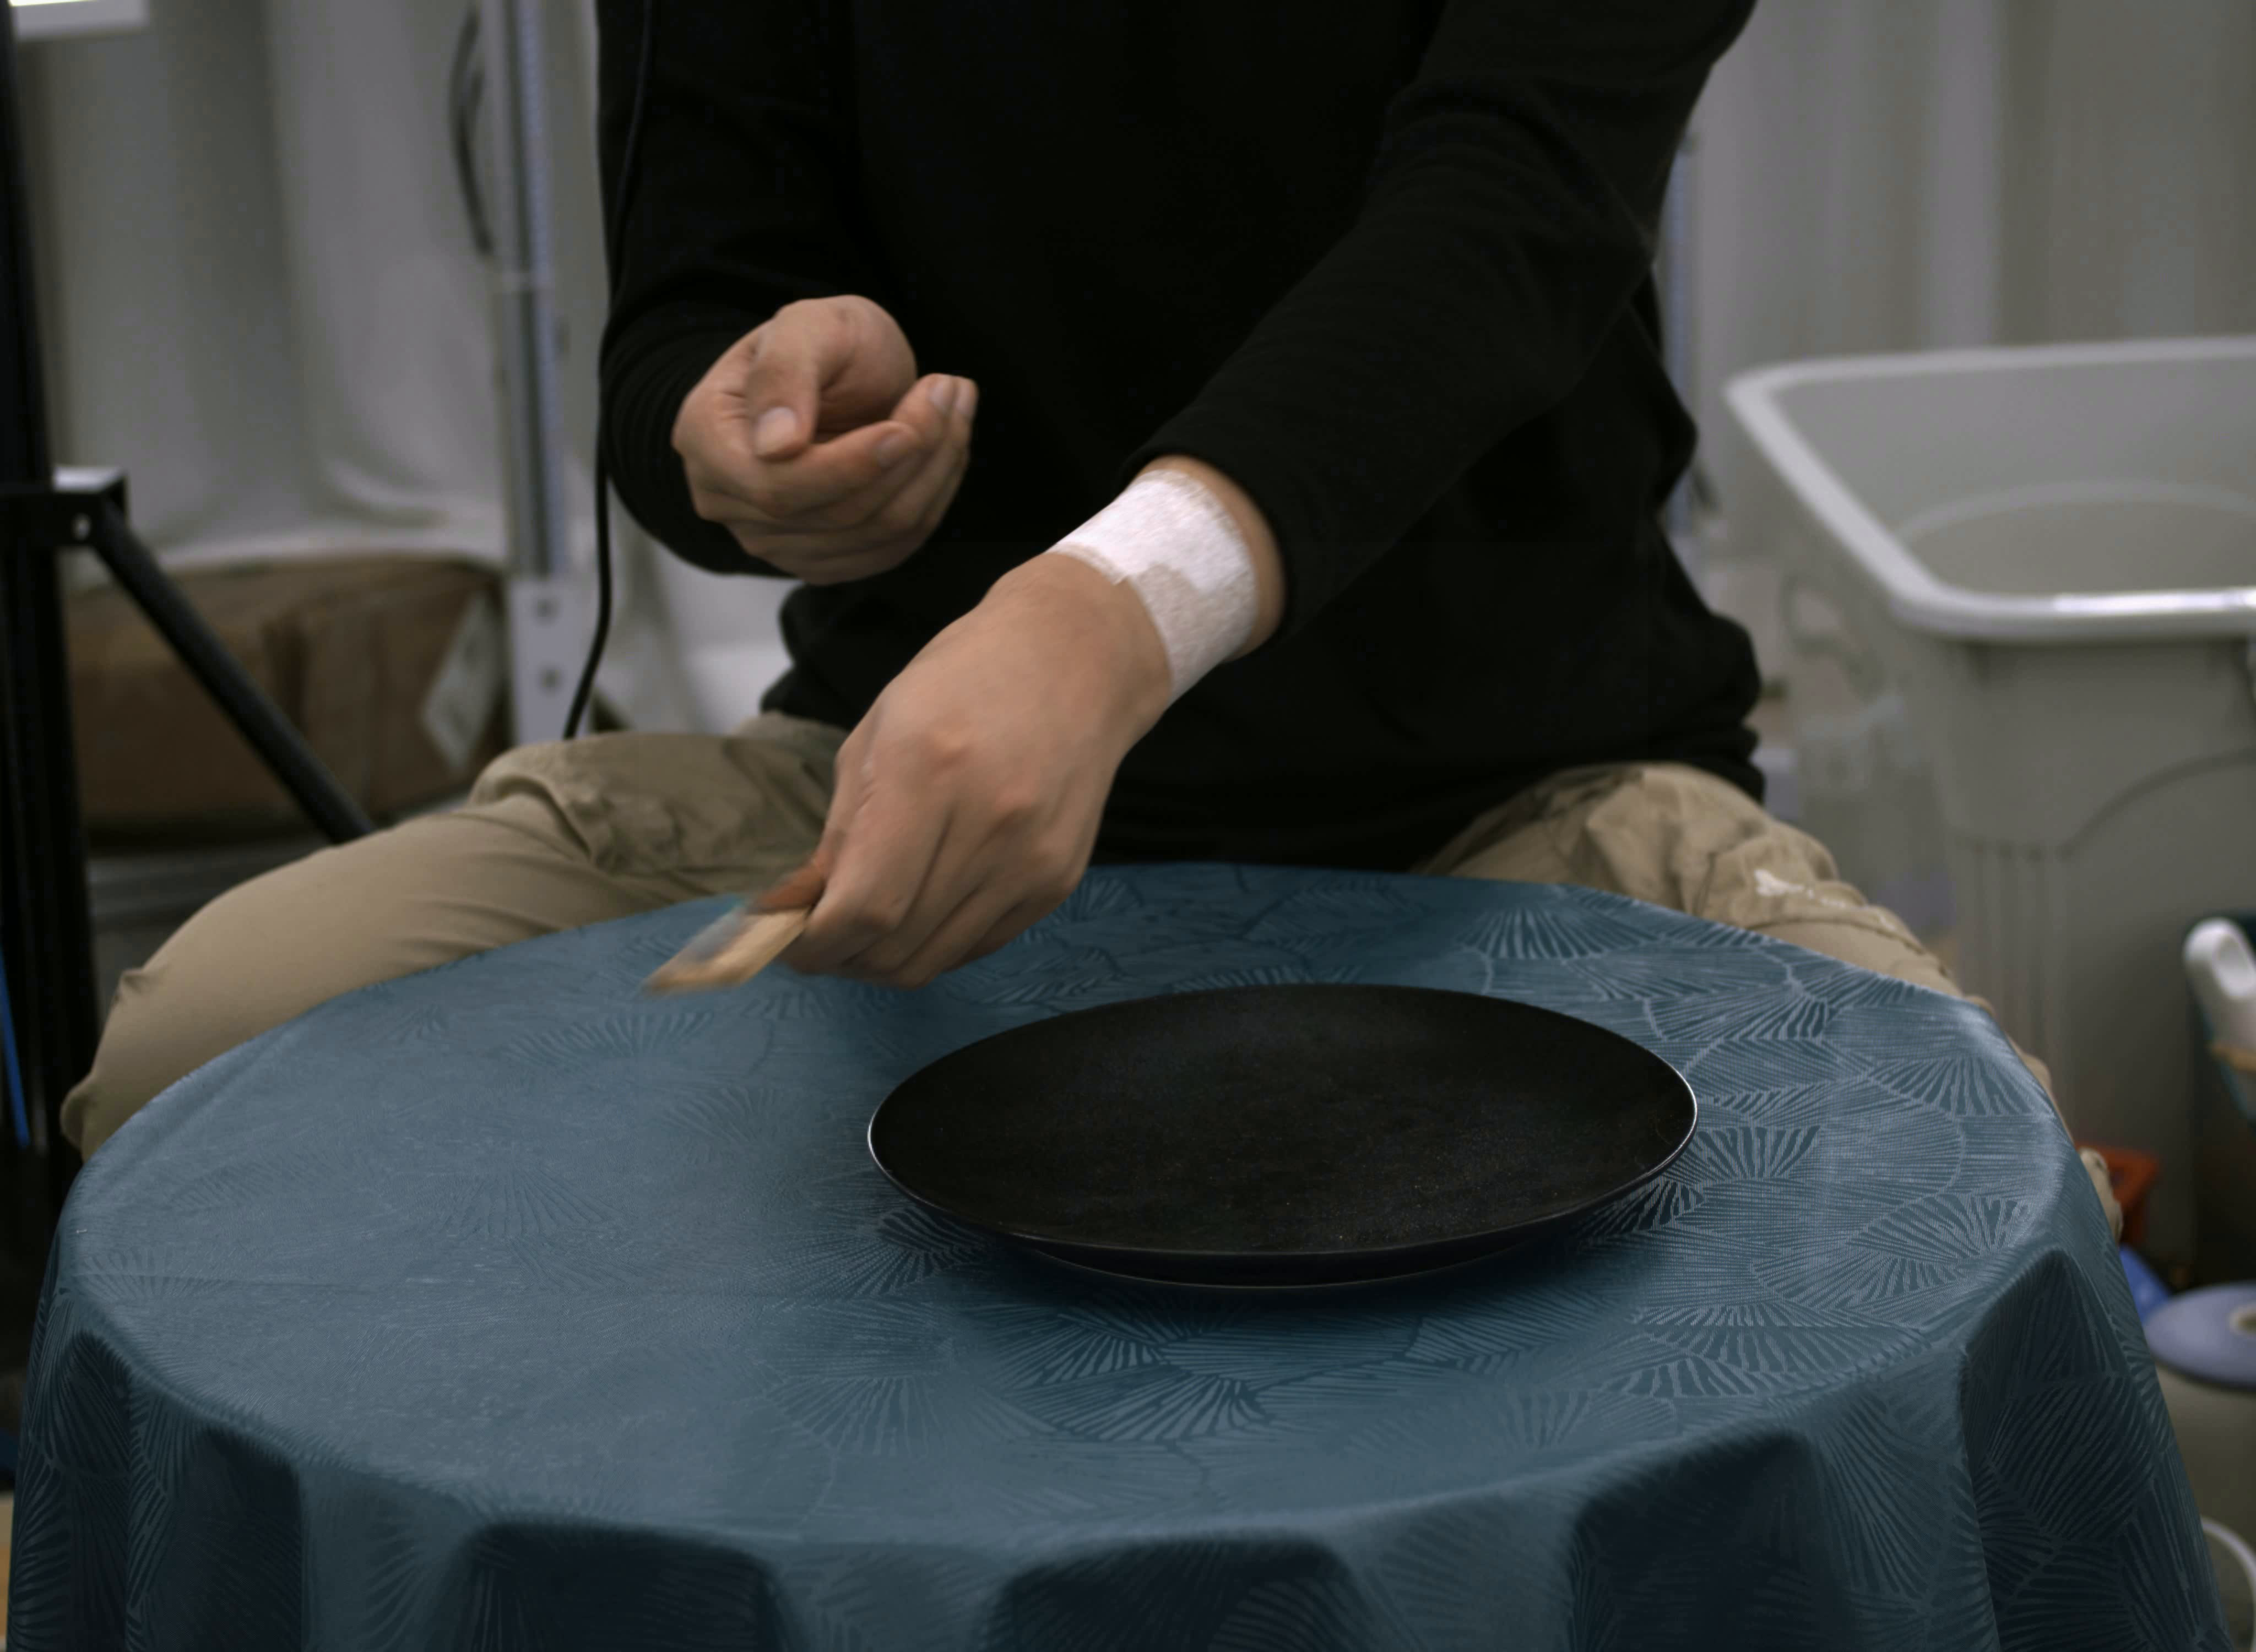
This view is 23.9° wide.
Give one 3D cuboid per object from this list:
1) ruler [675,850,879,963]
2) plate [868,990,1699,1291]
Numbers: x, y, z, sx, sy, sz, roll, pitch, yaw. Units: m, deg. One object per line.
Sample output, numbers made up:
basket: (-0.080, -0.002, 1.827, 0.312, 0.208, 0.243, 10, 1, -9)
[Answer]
ruler: (-0.097, 0.021, 1.555, 0.027, 0.006, 0.500, -5, 2, 0)
plate: (0.046, 0.094, 1.555, 0.243, 0.023, 0.245, -3, 16, -1)
